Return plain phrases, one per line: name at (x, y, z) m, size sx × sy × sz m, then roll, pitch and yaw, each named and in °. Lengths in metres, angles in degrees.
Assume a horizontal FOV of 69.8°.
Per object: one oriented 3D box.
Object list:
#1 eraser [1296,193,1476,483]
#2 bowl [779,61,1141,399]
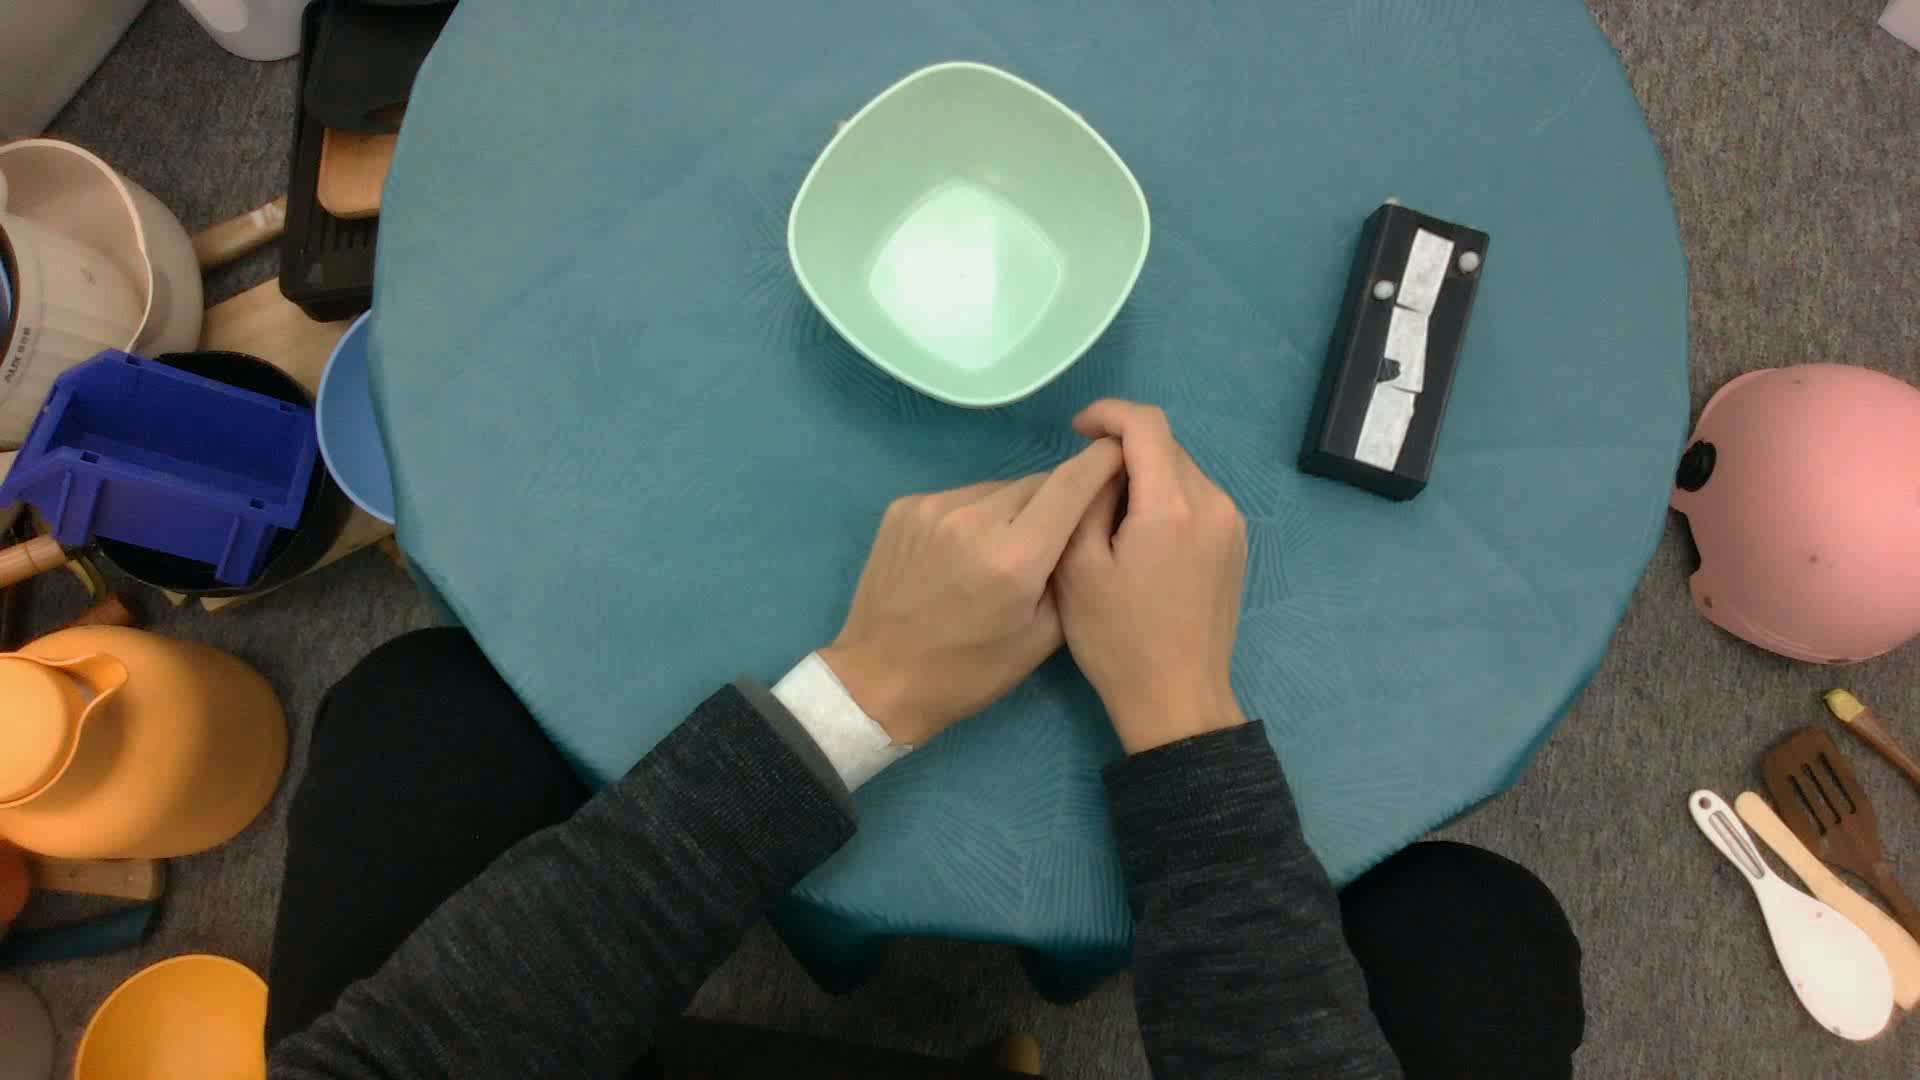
eraser at (0.190, -0.091, 0.617) m, size 0.053 × 0.030 × 0.126 m, roll 15°, pitch 79°, yaw 3°
bowl at (0.000, -0.126, 0.599) m, size 0.151 × 0.058 × 0.152 m, roll 0°, pitch 77°, yaw -1°
